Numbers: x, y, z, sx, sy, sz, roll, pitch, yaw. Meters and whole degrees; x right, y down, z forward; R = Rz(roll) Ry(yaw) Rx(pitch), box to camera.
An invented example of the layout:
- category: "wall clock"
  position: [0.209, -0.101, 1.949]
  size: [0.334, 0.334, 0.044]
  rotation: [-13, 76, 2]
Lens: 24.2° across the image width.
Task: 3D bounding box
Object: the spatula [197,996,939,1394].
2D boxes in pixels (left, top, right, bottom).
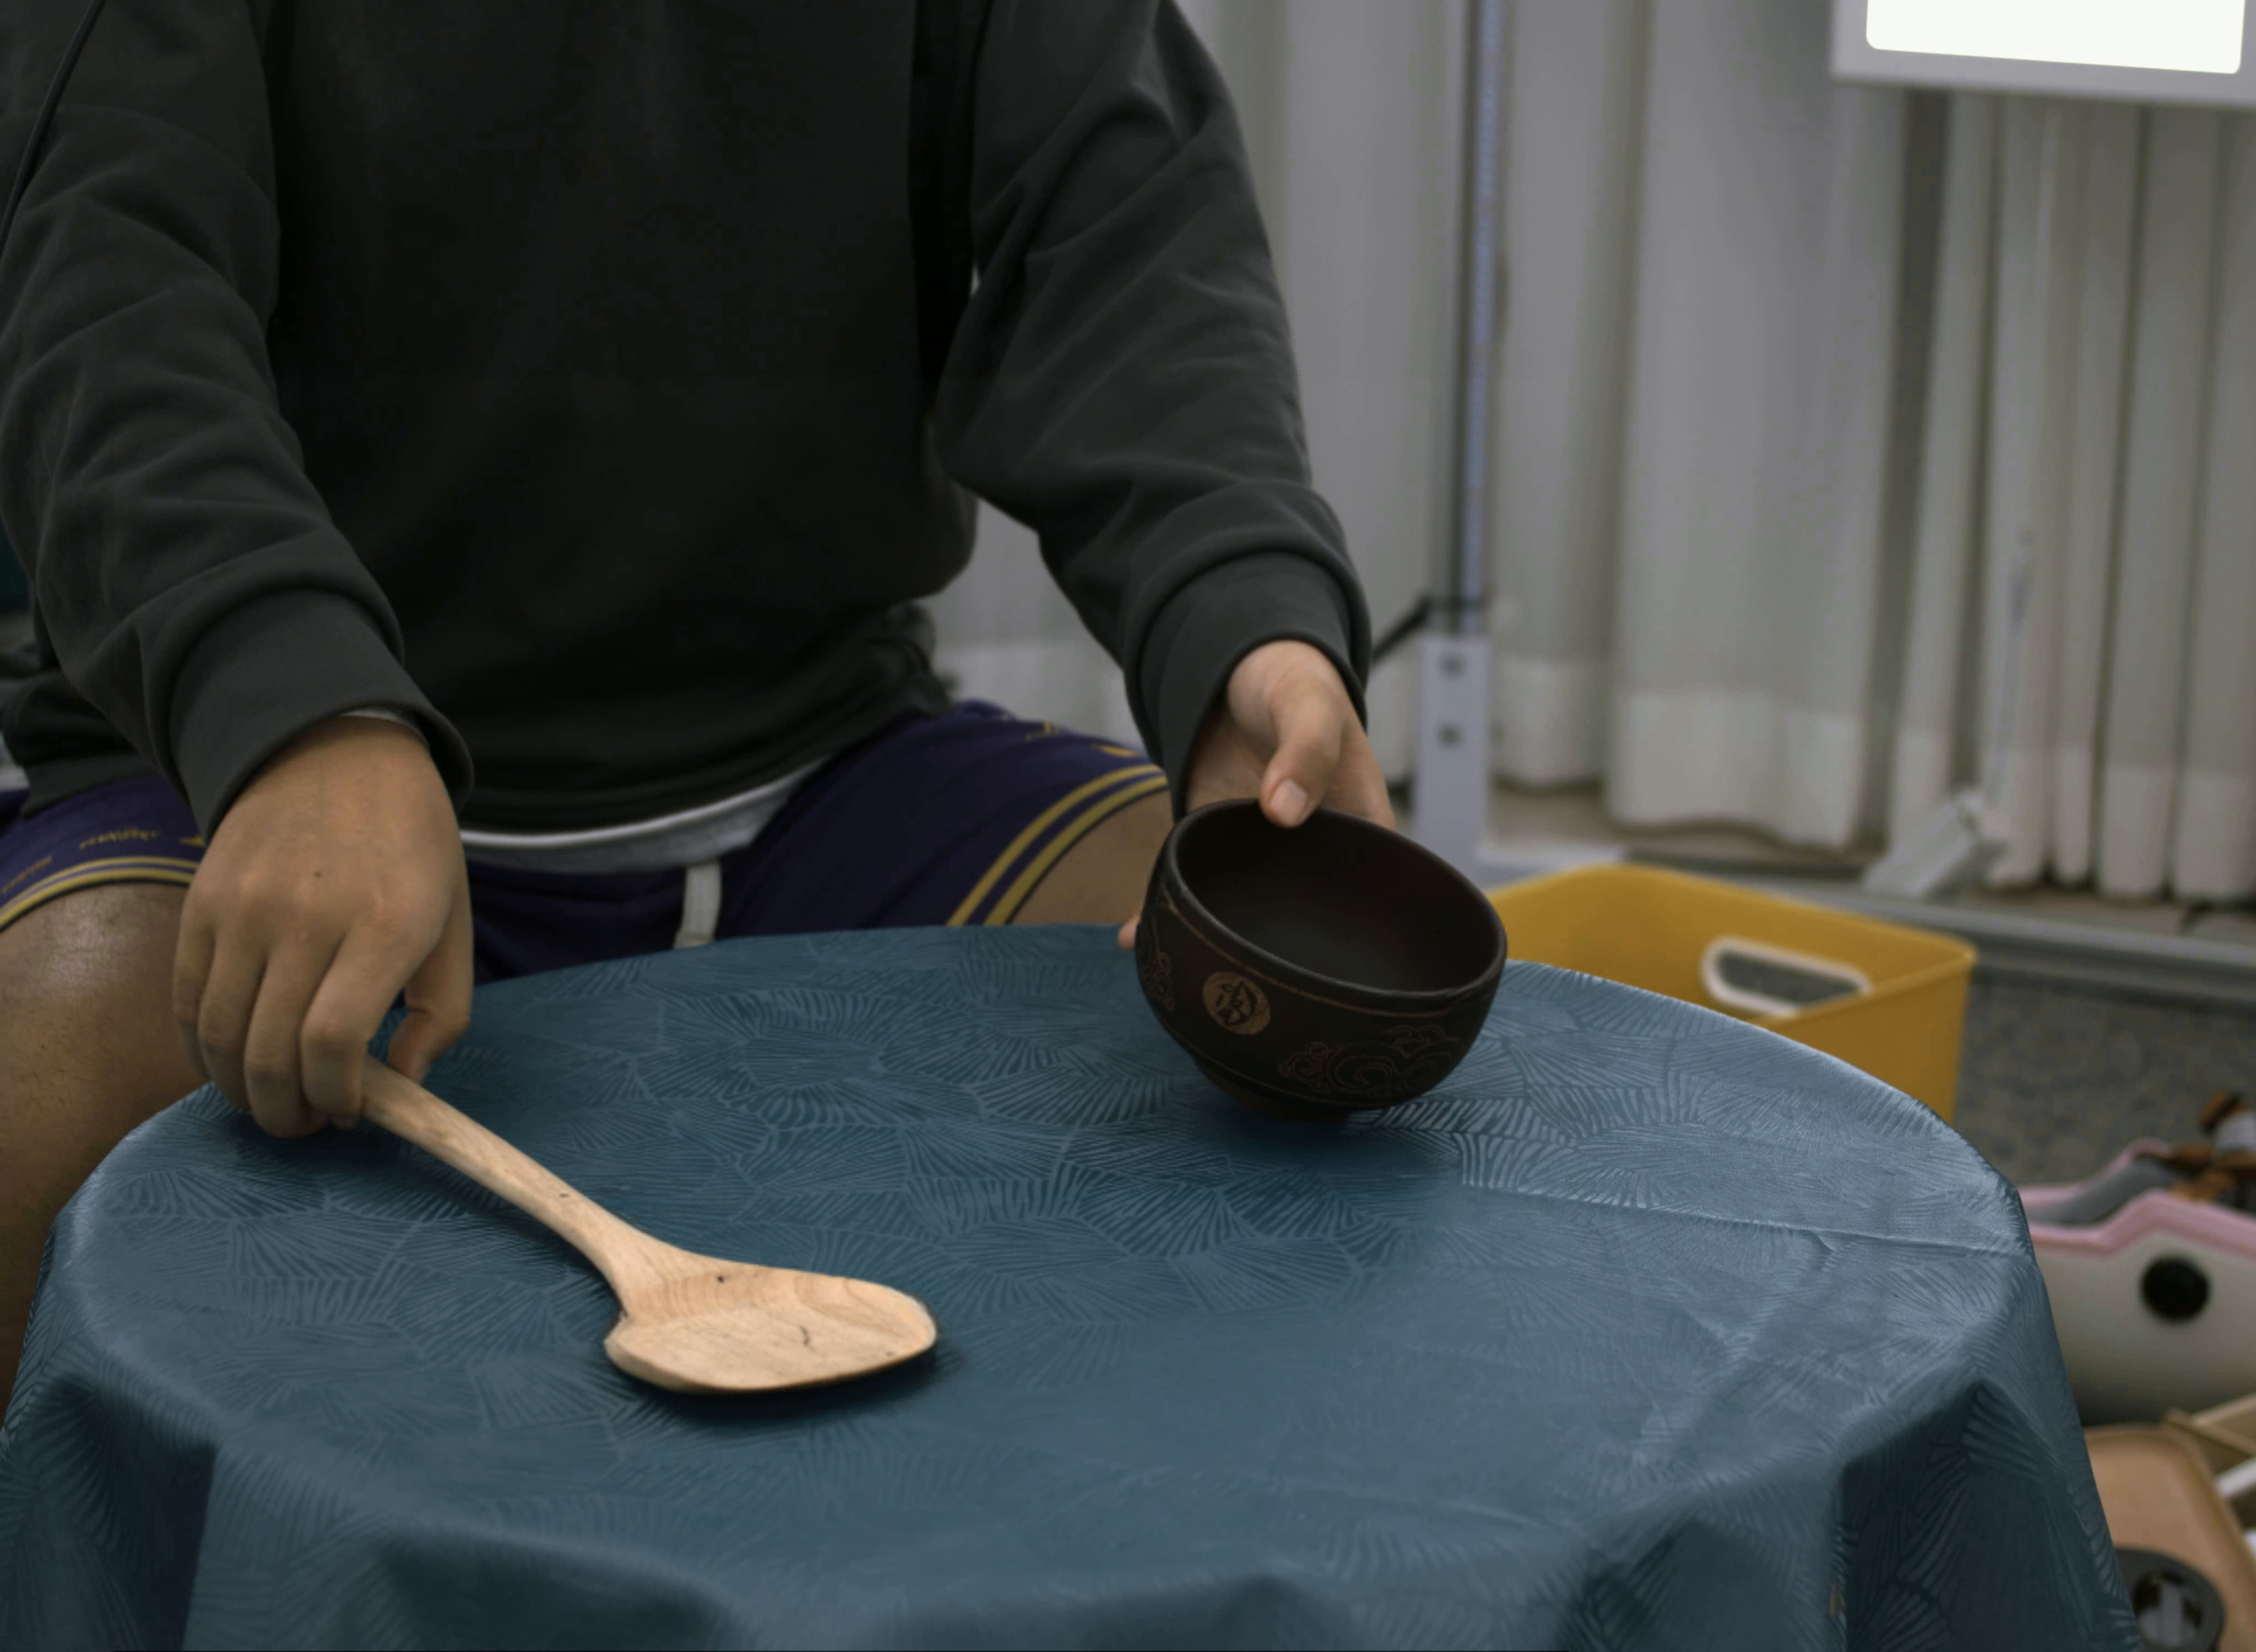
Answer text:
- category: "spatula"
  position: [-0.193, 0.106, 1.590]
  size: [0.096, 0.018, 0.385]
  rotation: [-8, 20, -35]

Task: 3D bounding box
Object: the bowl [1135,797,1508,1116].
- category: "bowl"
  position: [0.057, 0.049, 1.691]
  size: [0.118, 0.070, 0.117]
  rotation: [16, 26, -7]
